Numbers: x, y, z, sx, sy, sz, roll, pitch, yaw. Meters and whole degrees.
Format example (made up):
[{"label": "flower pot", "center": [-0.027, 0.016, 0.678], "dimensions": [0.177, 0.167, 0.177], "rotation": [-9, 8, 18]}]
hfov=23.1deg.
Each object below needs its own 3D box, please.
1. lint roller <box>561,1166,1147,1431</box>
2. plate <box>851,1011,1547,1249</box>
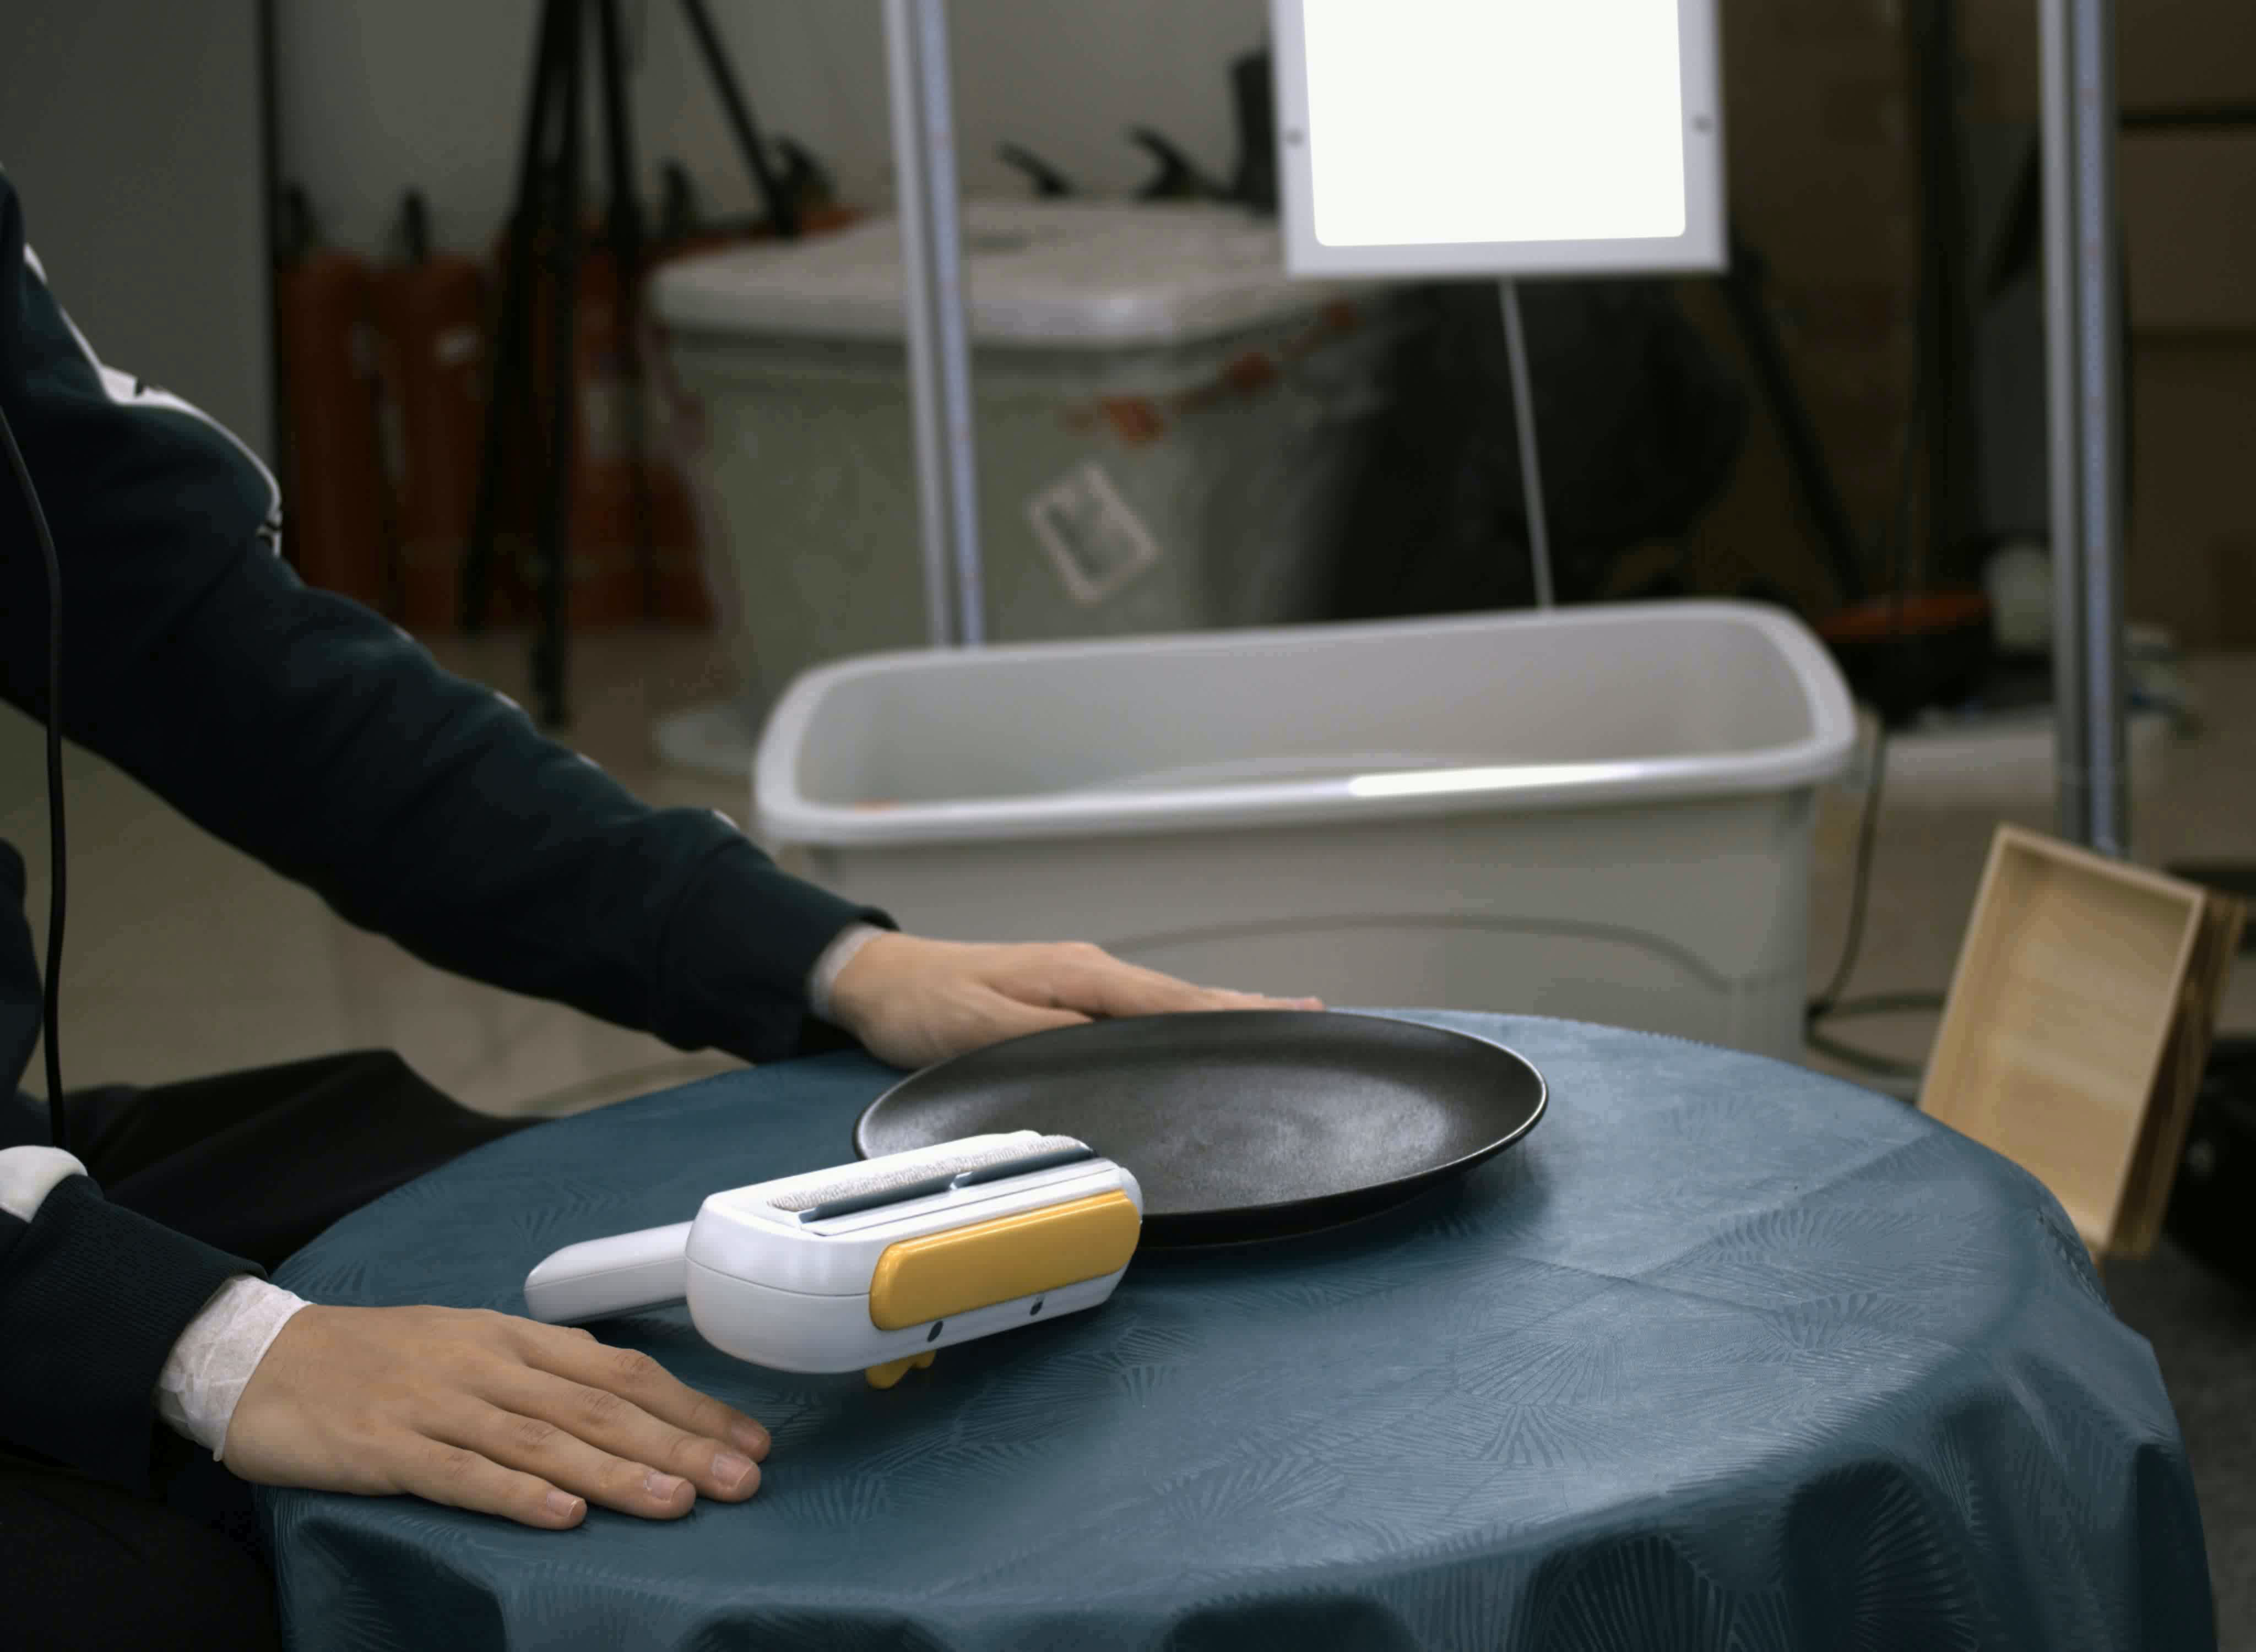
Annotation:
[{"label": "lint roller", "center": [-0.111, 0.155, 1.756], "dimensions": [0.197, 0.074, 0.188], "rotation": [-12, -1, 41]}, {"label": "plate", "center": [0.025, 0.108, 1.914], "dimensions": [0.244, 0.023, 0.244], "rotation": [-5, 14, 0]}]
